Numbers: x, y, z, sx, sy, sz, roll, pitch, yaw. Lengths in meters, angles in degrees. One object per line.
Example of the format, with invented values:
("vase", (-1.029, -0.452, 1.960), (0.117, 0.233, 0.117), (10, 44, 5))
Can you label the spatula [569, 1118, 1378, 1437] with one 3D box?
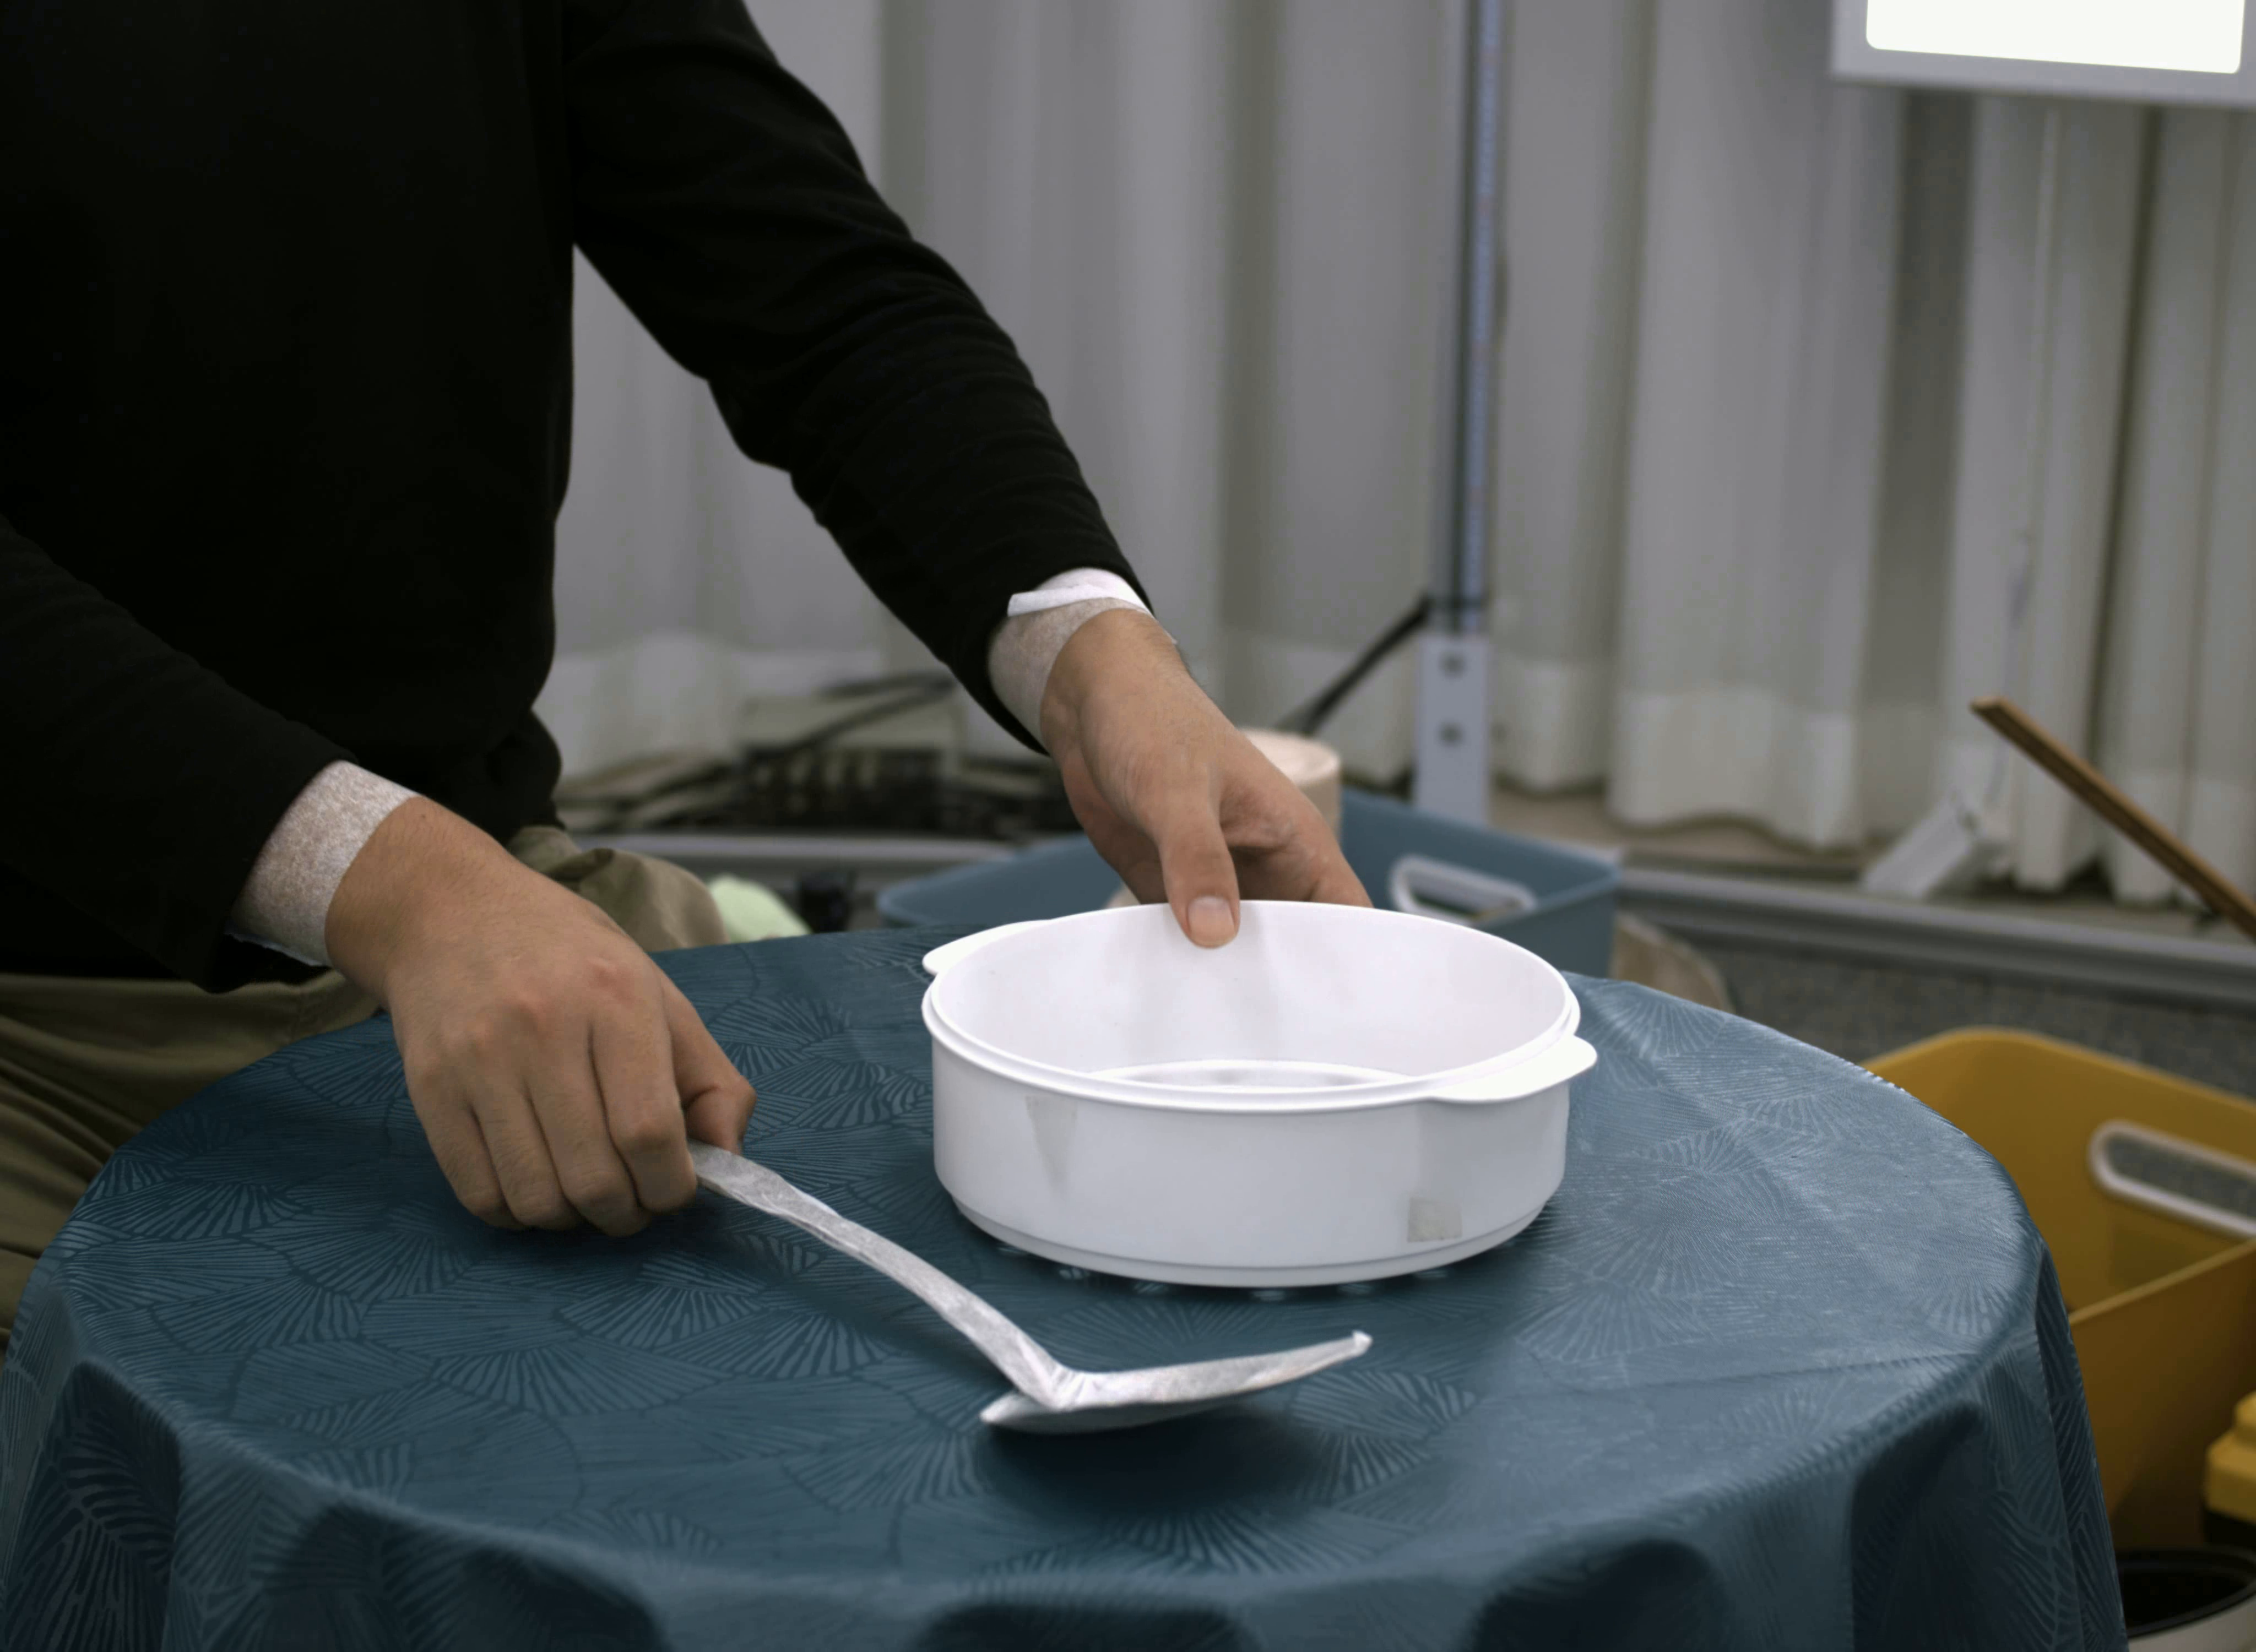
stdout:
("spatula", (-0.069, 0.120, 1.514), (0.099, 0.045, 0.360), (-13, 21, -35))

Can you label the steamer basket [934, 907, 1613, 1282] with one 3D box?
("steamer basket", (0.041, 0.081, 1.603), (0.227, 0.070, 0.203), (12, 18, 38))
